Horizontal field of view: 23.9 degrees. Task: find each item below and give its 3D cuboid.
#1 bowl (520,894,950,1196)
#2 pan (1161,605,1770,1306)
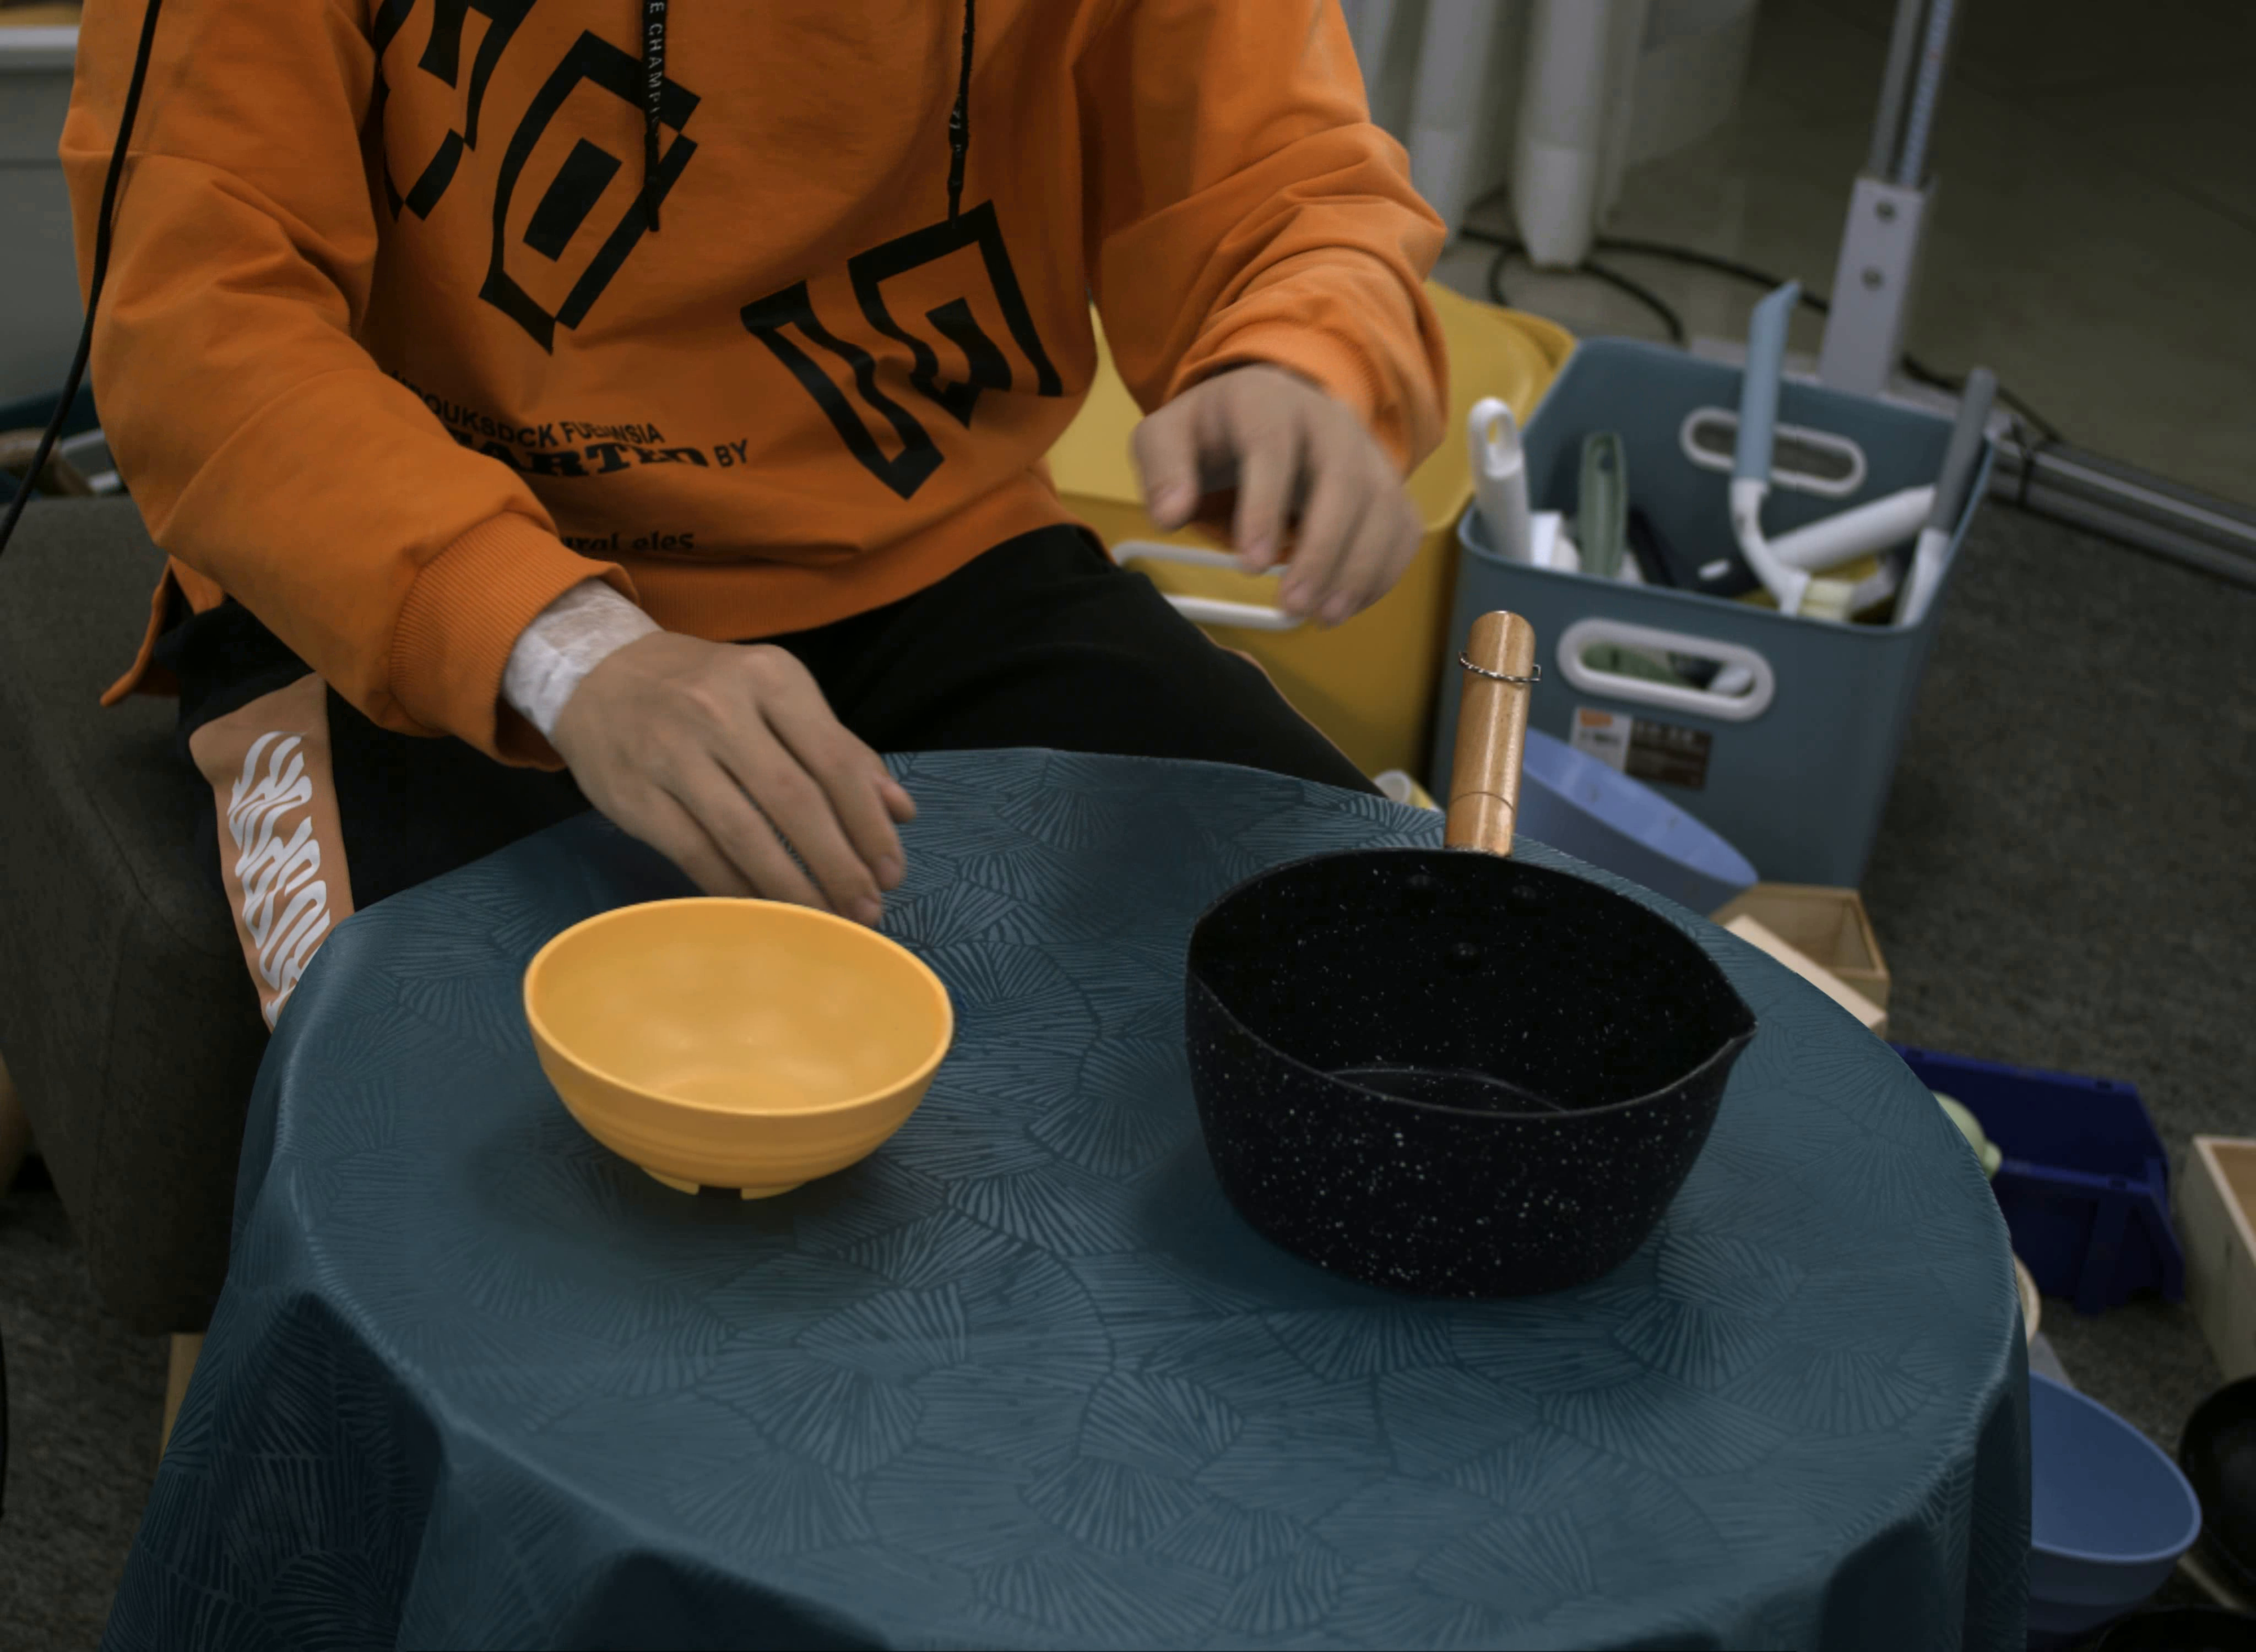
[{"bbox_3d":[-0.134,0.083,1.788,0.145,0.060,0.146,6,27,-4],"label":"bowl"},{"bbox_3d":[0.118,0.041,1.872,0.207,0.108,0.344,6,28,3],"label":"pan"}]
